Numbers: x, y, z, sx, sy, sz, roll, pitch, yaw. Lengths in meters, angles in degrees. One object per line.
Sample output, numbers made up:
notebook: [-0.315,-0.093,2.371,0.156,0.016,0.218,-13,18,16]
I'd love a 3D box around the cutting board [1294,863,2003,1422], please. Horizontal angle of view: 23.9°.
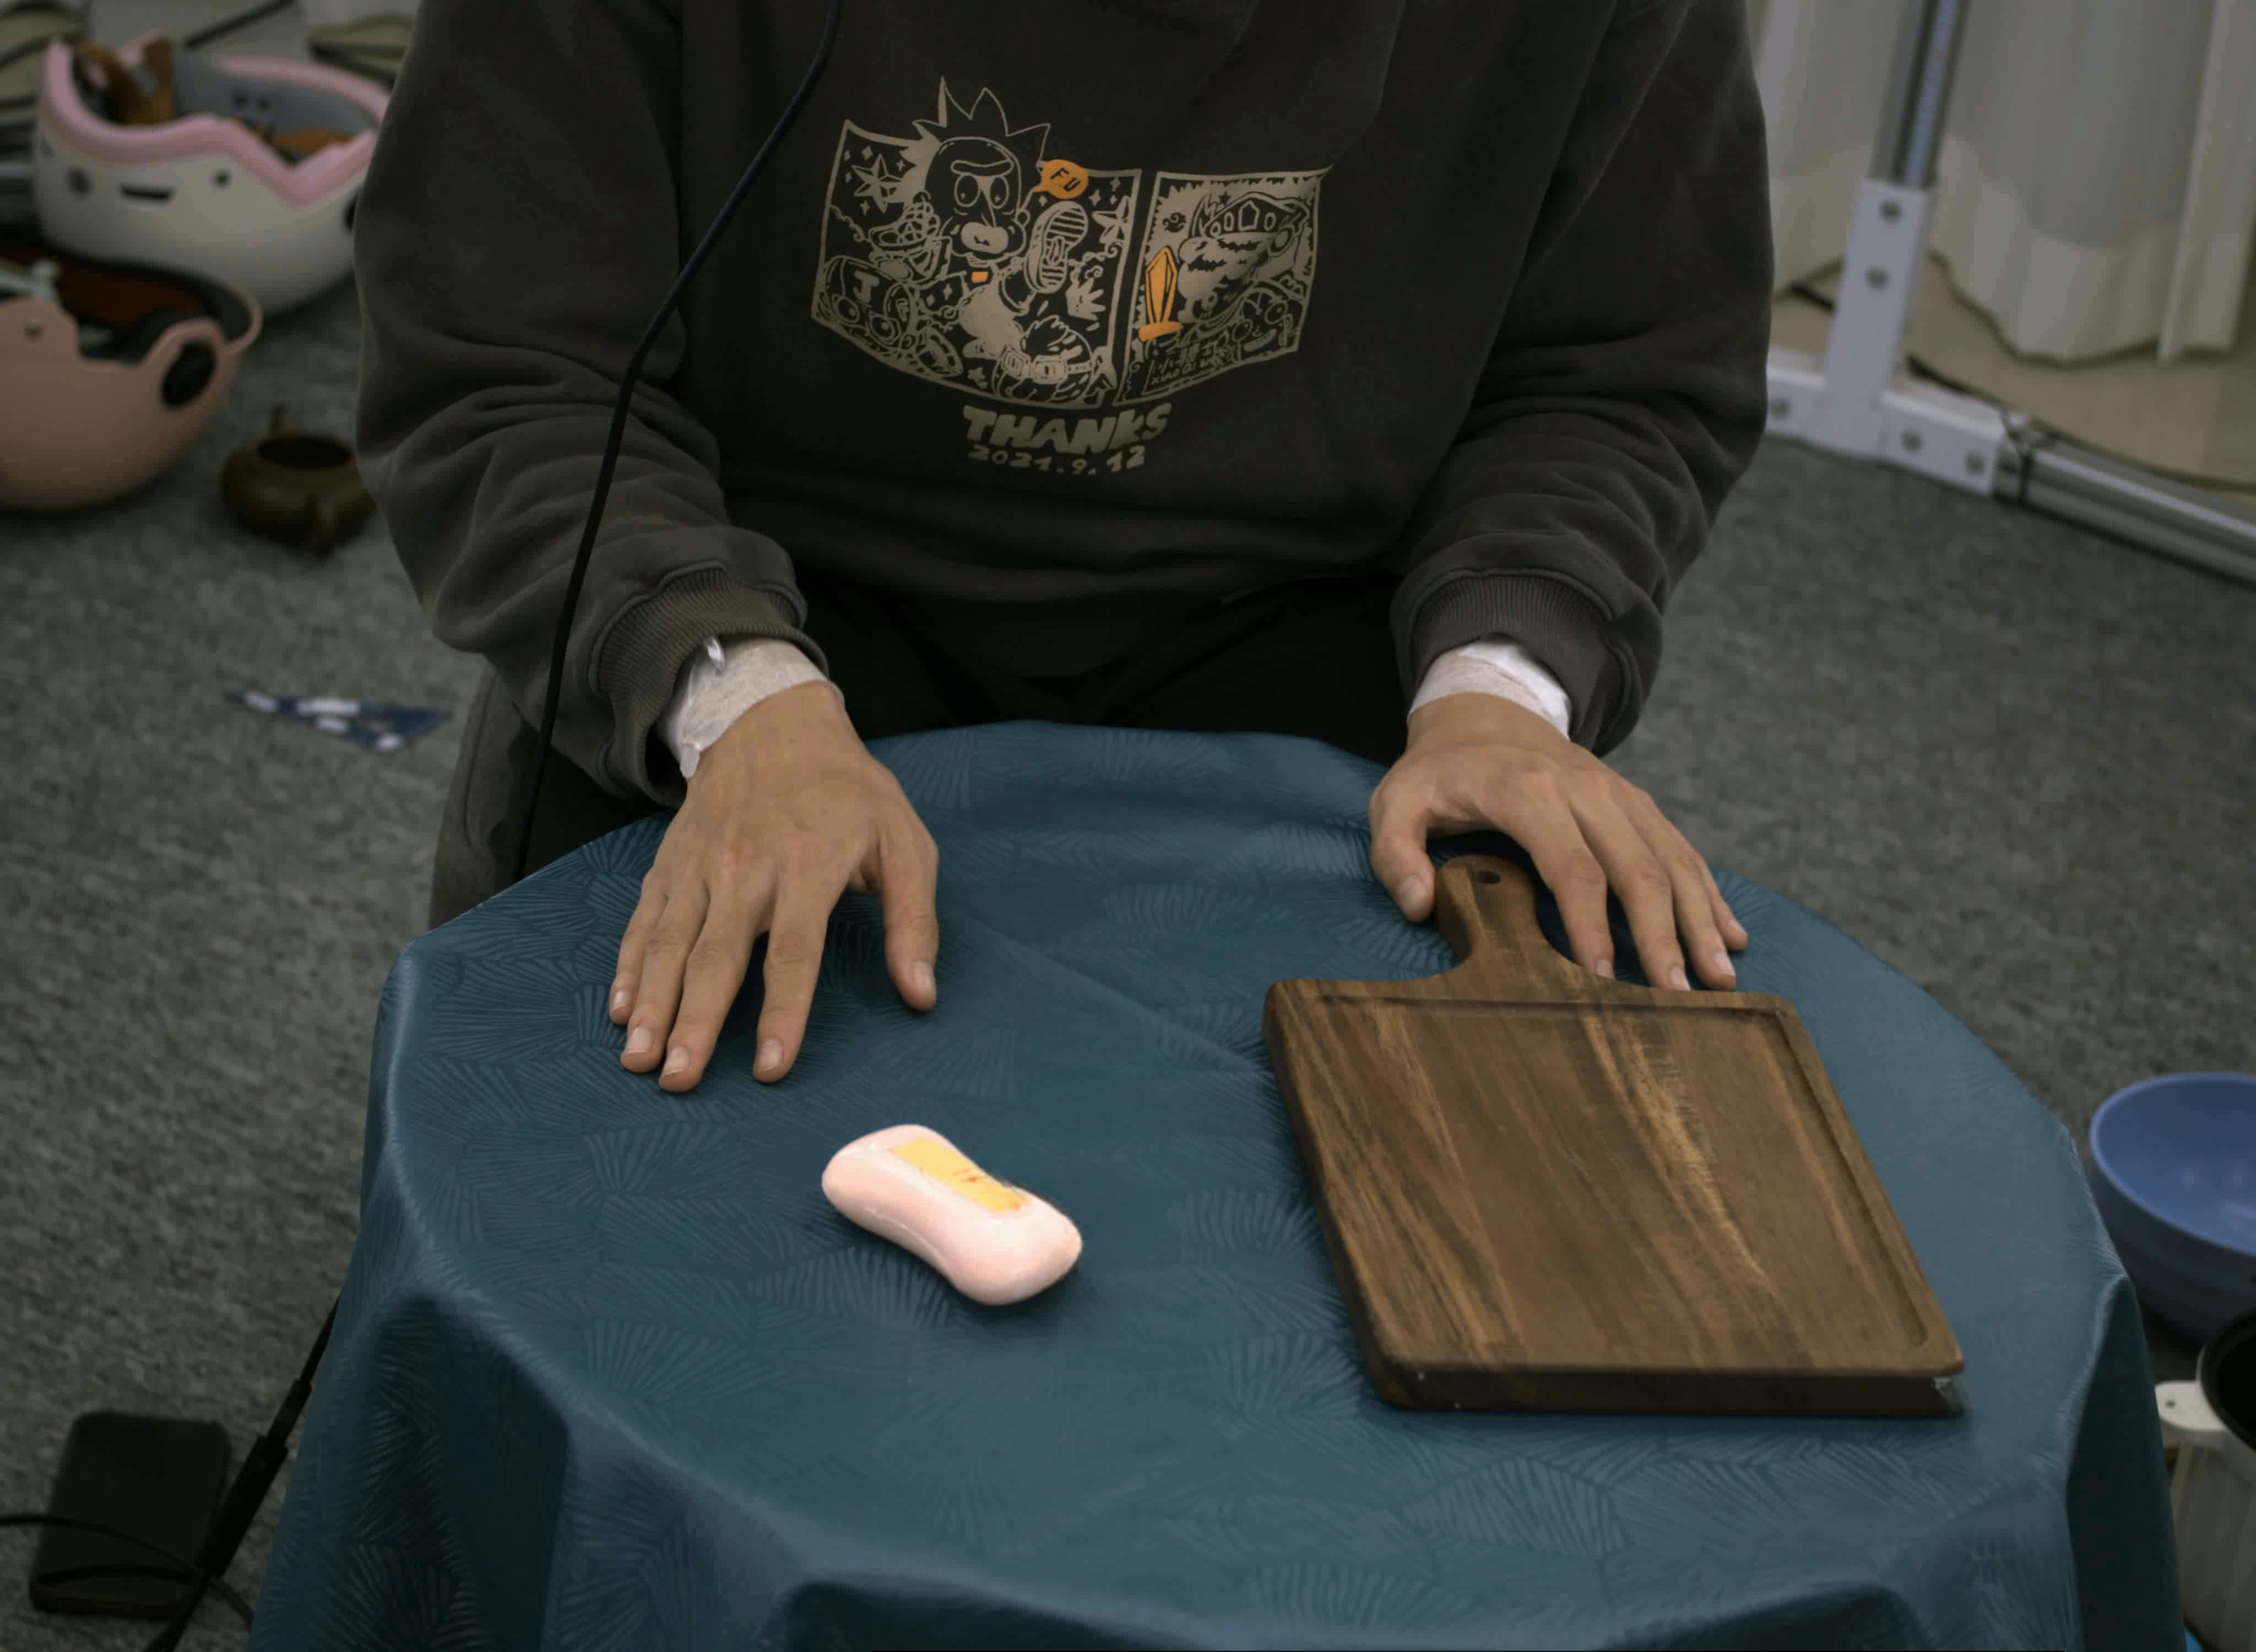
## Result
cutting board: [0.166,0.103,1.859,0.200,0.023,0.355,2,27,-8]

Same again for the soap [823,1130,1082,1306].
soap: [-0.058,0.128,1.750,0.050,0.030,0.095,-17,33,-40]
